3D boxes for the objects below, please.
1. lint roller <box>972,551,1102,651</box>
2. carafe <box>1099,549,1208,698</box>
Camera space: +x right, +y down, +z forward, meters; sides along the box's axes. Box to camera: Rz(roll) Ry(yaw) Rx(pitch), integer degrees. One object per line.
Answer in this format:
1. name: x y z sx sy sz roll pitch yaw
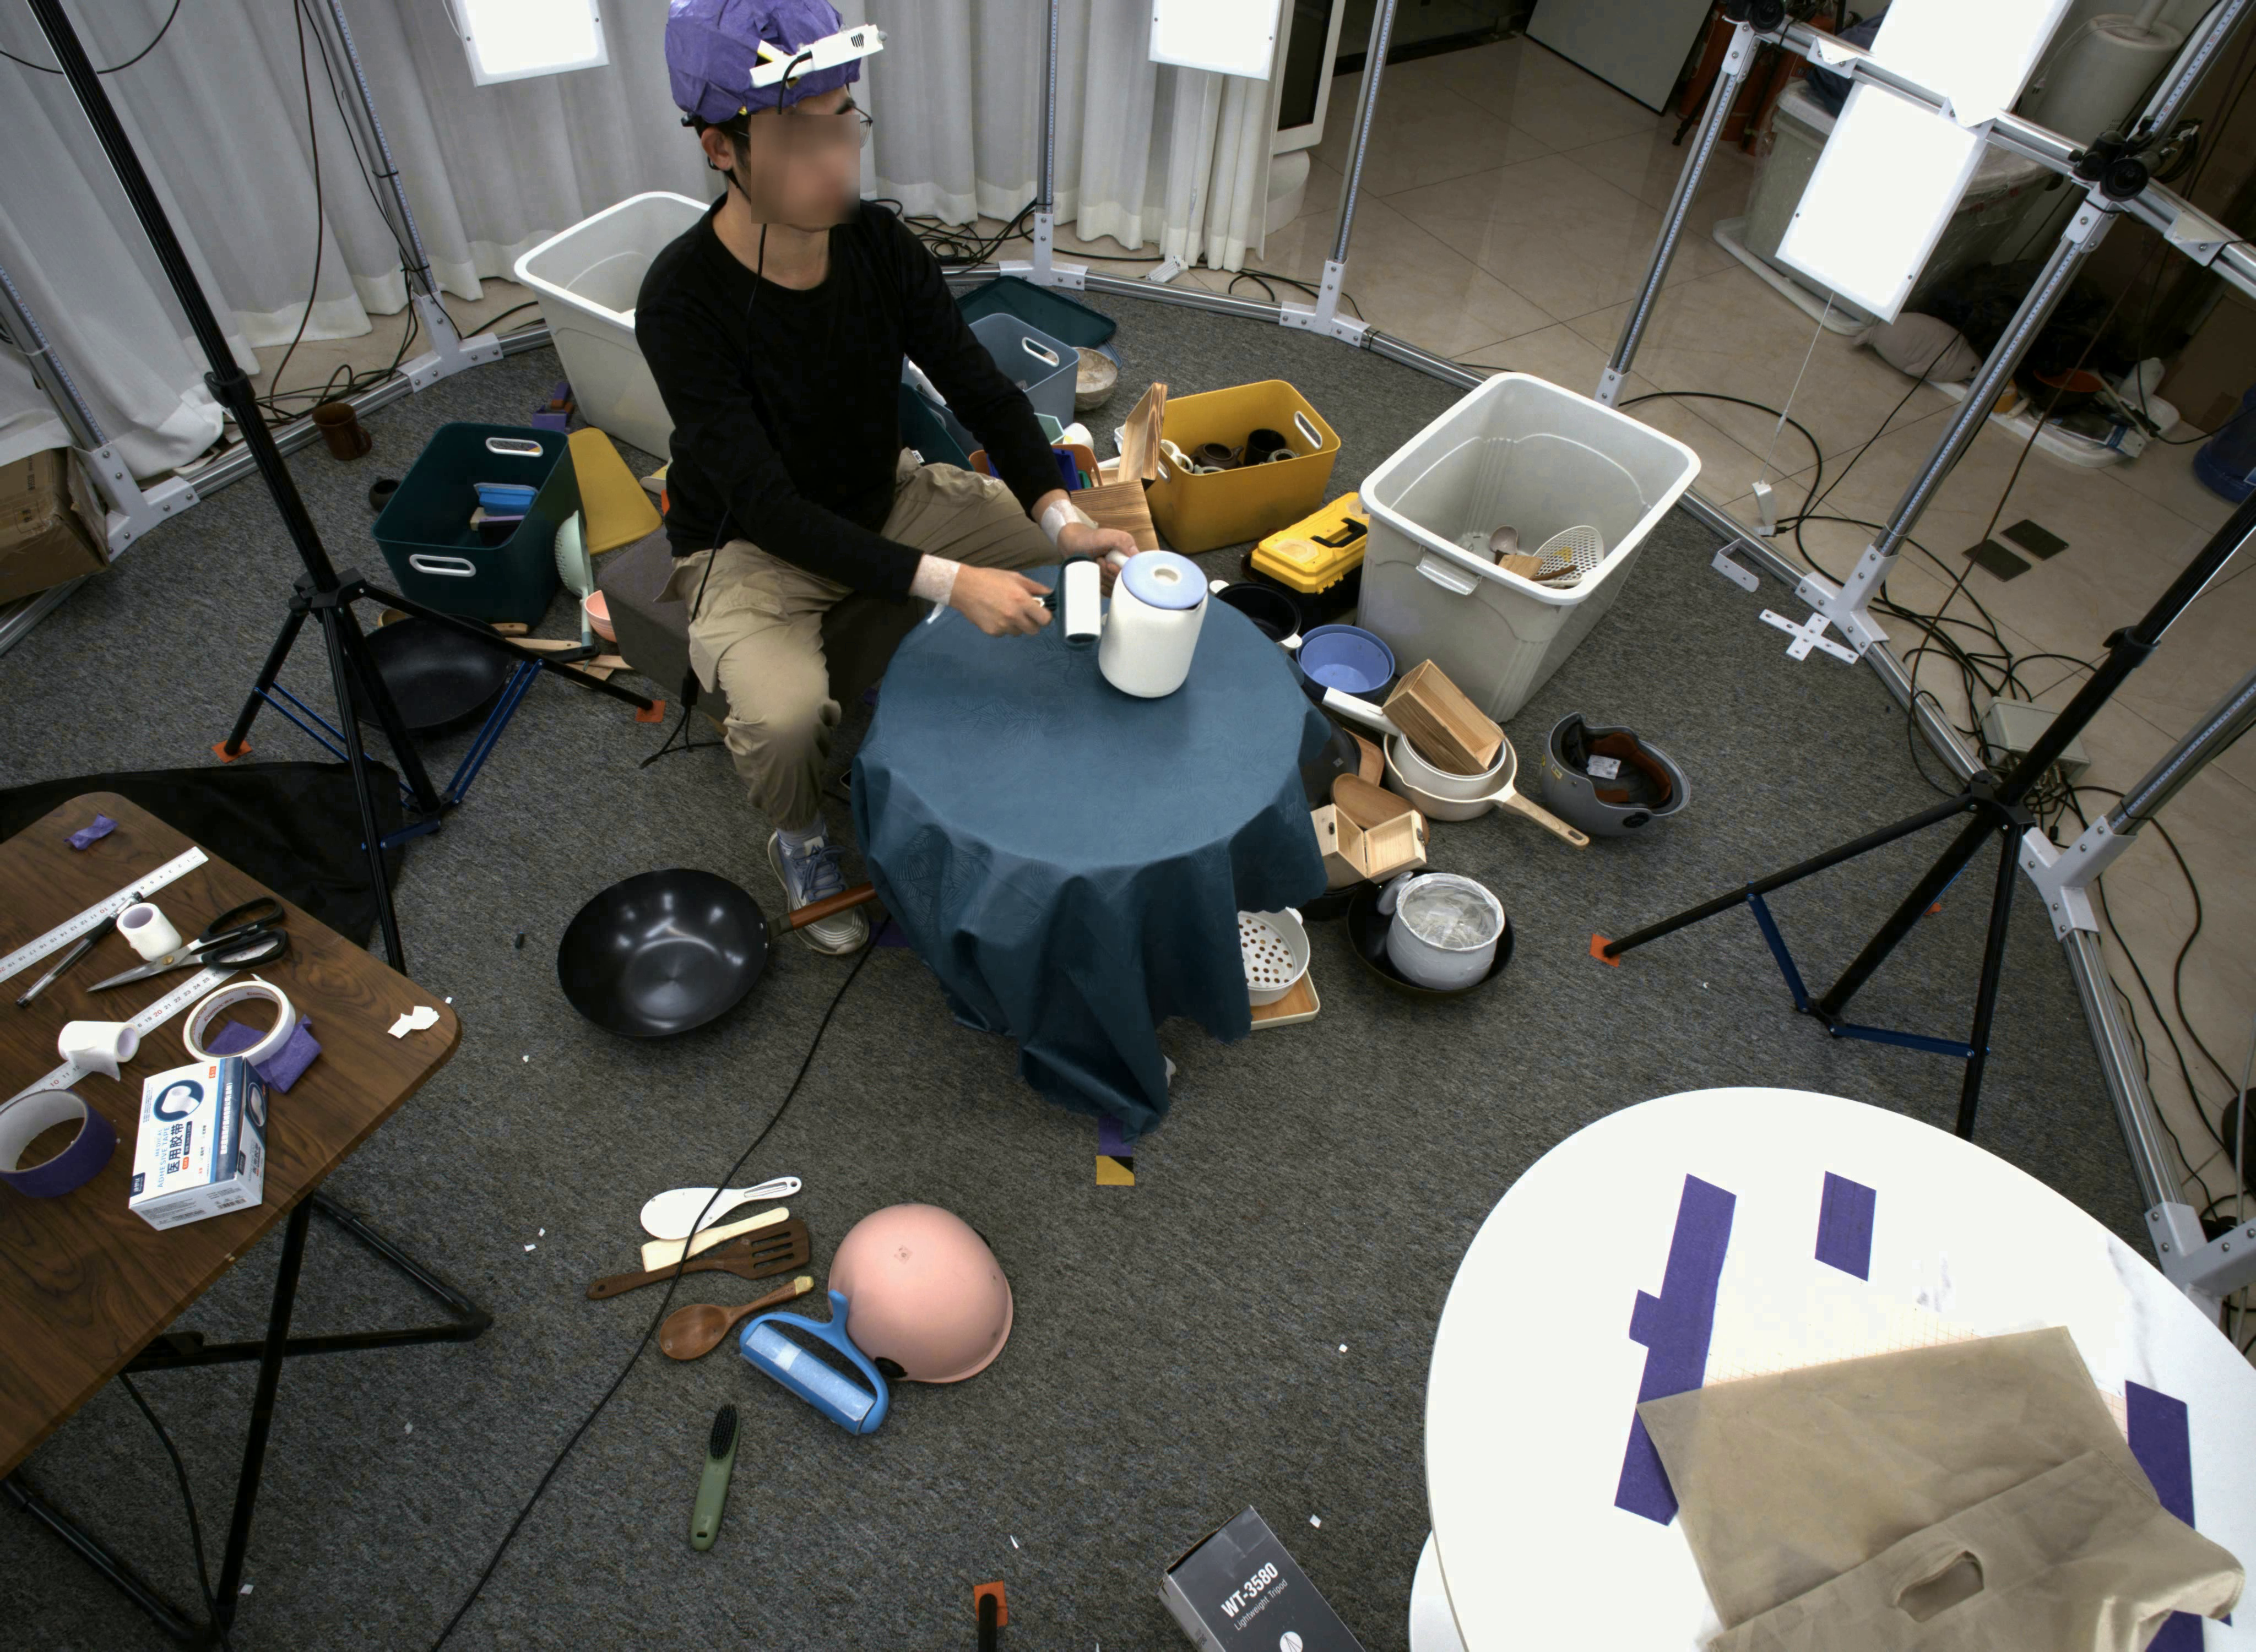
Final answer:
1. lint roller: -0.127 -0.304 1.759 0.180 0.048 0.136 -2 77 2
2. carafe: 0.019 -0.298 1.809 0.133 0.178 0.194 -28 58 -33
